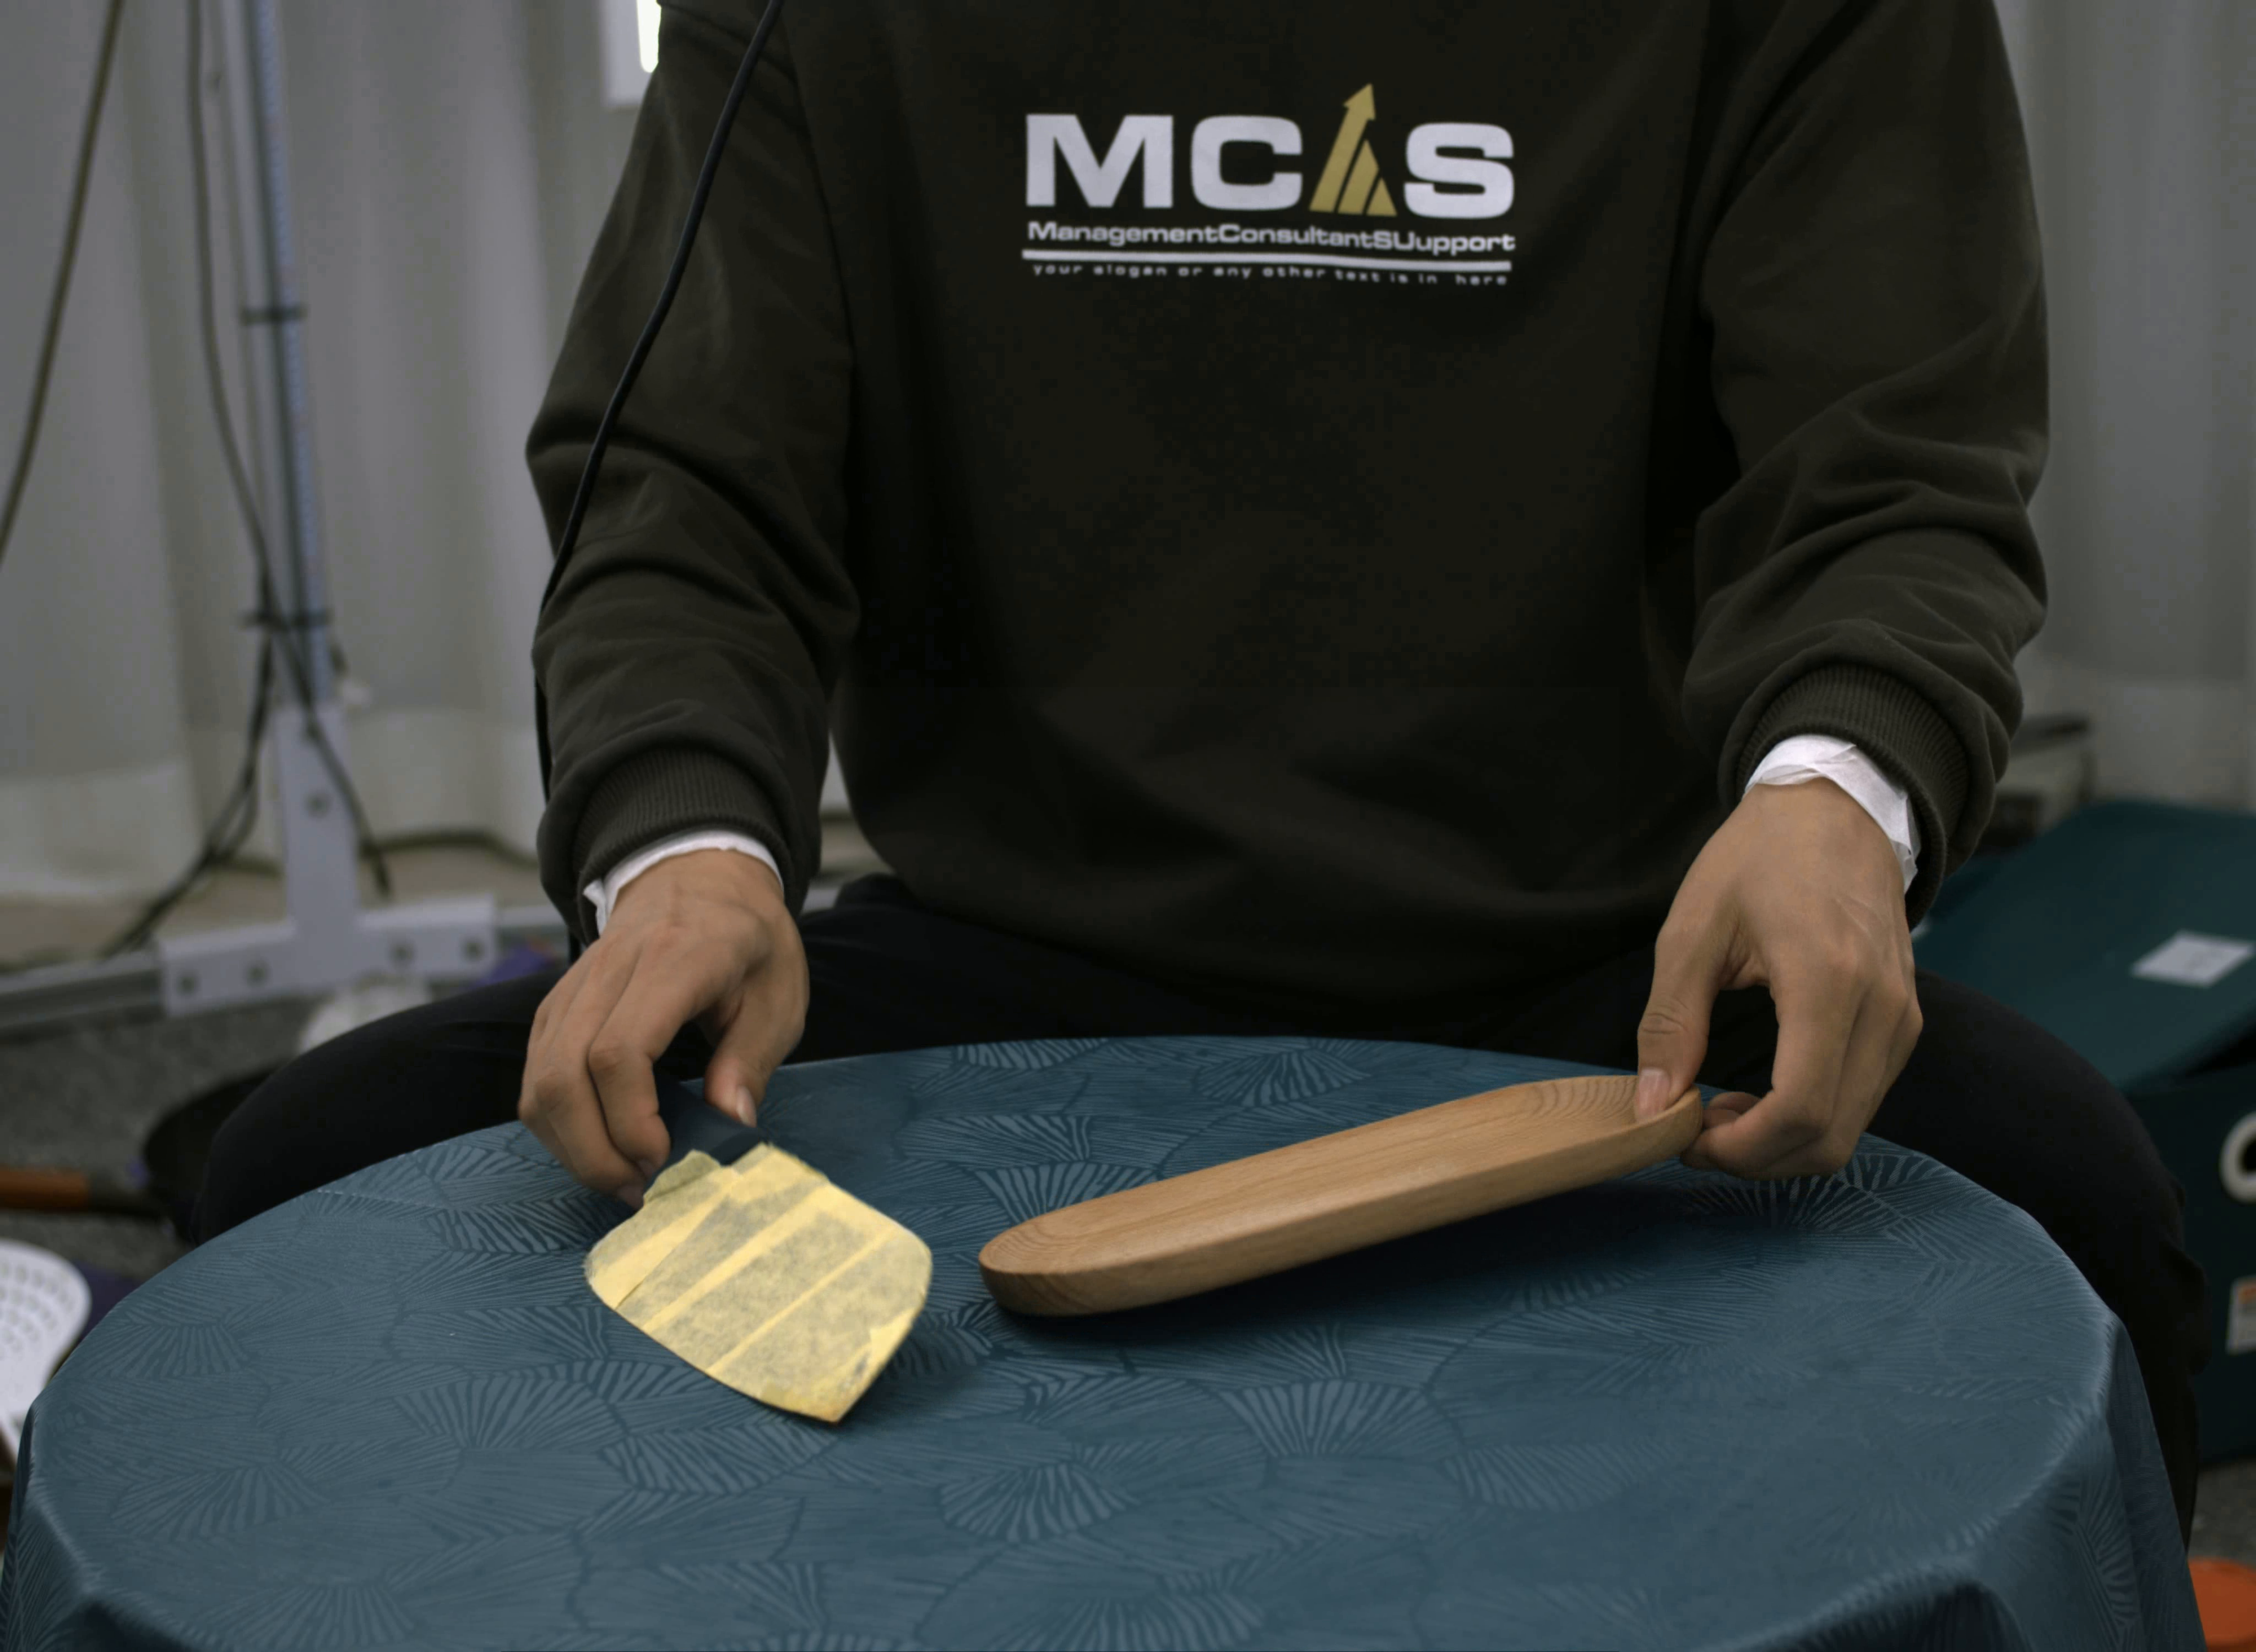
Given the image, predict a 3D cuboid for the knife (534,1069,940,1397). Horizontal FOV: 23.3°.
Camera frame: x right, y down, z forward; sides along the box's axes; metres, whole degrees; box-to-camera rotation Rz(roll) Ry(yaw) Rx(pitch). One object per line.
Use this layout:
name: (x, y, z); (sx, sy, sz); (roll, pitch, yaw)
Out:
knife: (-0.131, 0.122, 1.656); (0.081, 0.027, 0.292); (-32, 23, -16)

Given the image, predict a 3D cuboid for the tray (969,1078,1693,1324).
tray: (0.063, 0.112, 1.639); (0.230, 0.020, 0.102); (-15, 8, -20)
